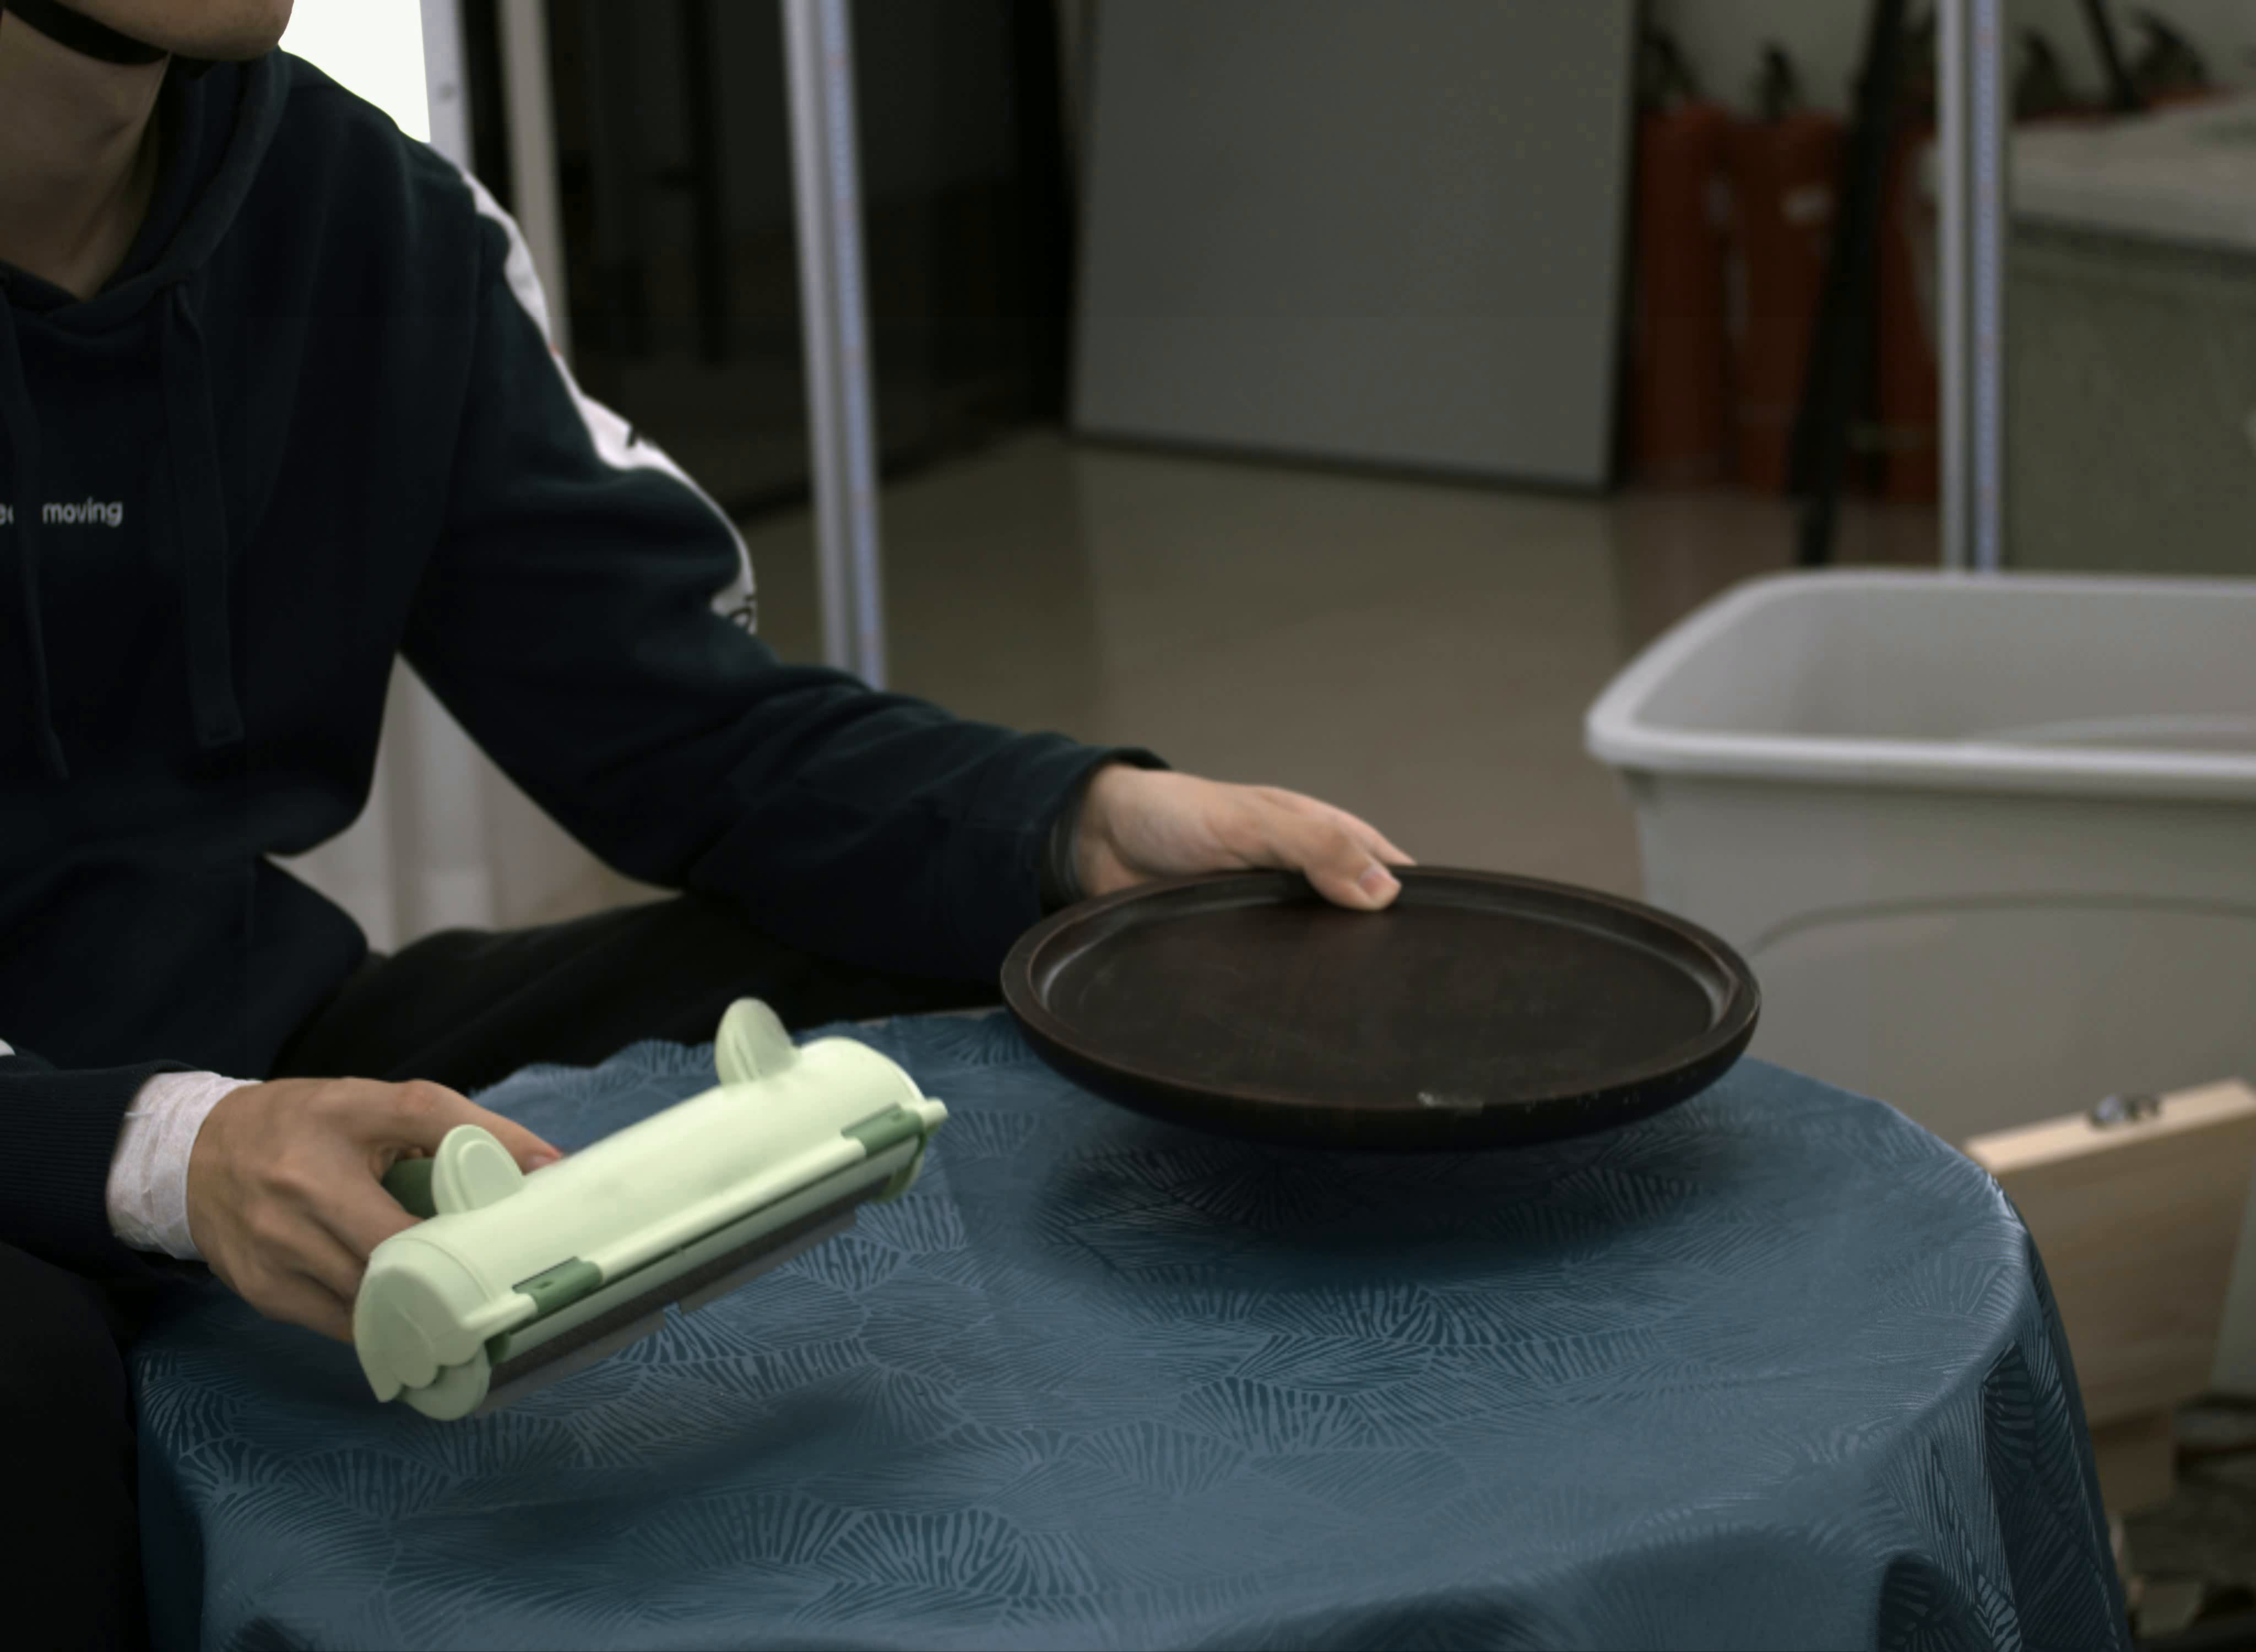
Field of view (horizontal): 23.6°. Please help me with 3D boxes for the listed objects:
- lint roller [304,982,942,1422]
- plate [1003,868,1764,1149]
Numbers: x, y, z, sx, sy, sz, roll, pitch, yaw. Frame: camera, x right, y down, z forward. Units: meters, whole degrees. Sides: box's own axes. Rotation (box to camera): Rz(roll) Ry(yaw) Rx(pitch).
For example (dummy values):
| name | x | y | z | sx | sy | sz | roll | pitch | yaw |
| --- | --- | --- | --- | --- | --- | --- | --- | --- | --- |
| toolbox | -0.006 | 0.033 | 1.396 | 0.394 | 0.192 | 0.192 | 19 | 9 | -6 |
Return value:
| name | x | y | z | sx | sy | sz | roll | pitch | yaw |
| --- | --- | --- | --- | --- | --- | --- | --- | --- | --- |
| lint roller | -0.180 | 0.097 | 1.576 | 0.185 | 0.083 | 0.195 | 9 | 23 | 40 |
| plate | 0.084 | 0.057 | 1.773 | 0.251 | 0.029 | 0.255 | 0 | 17 | -1 |
